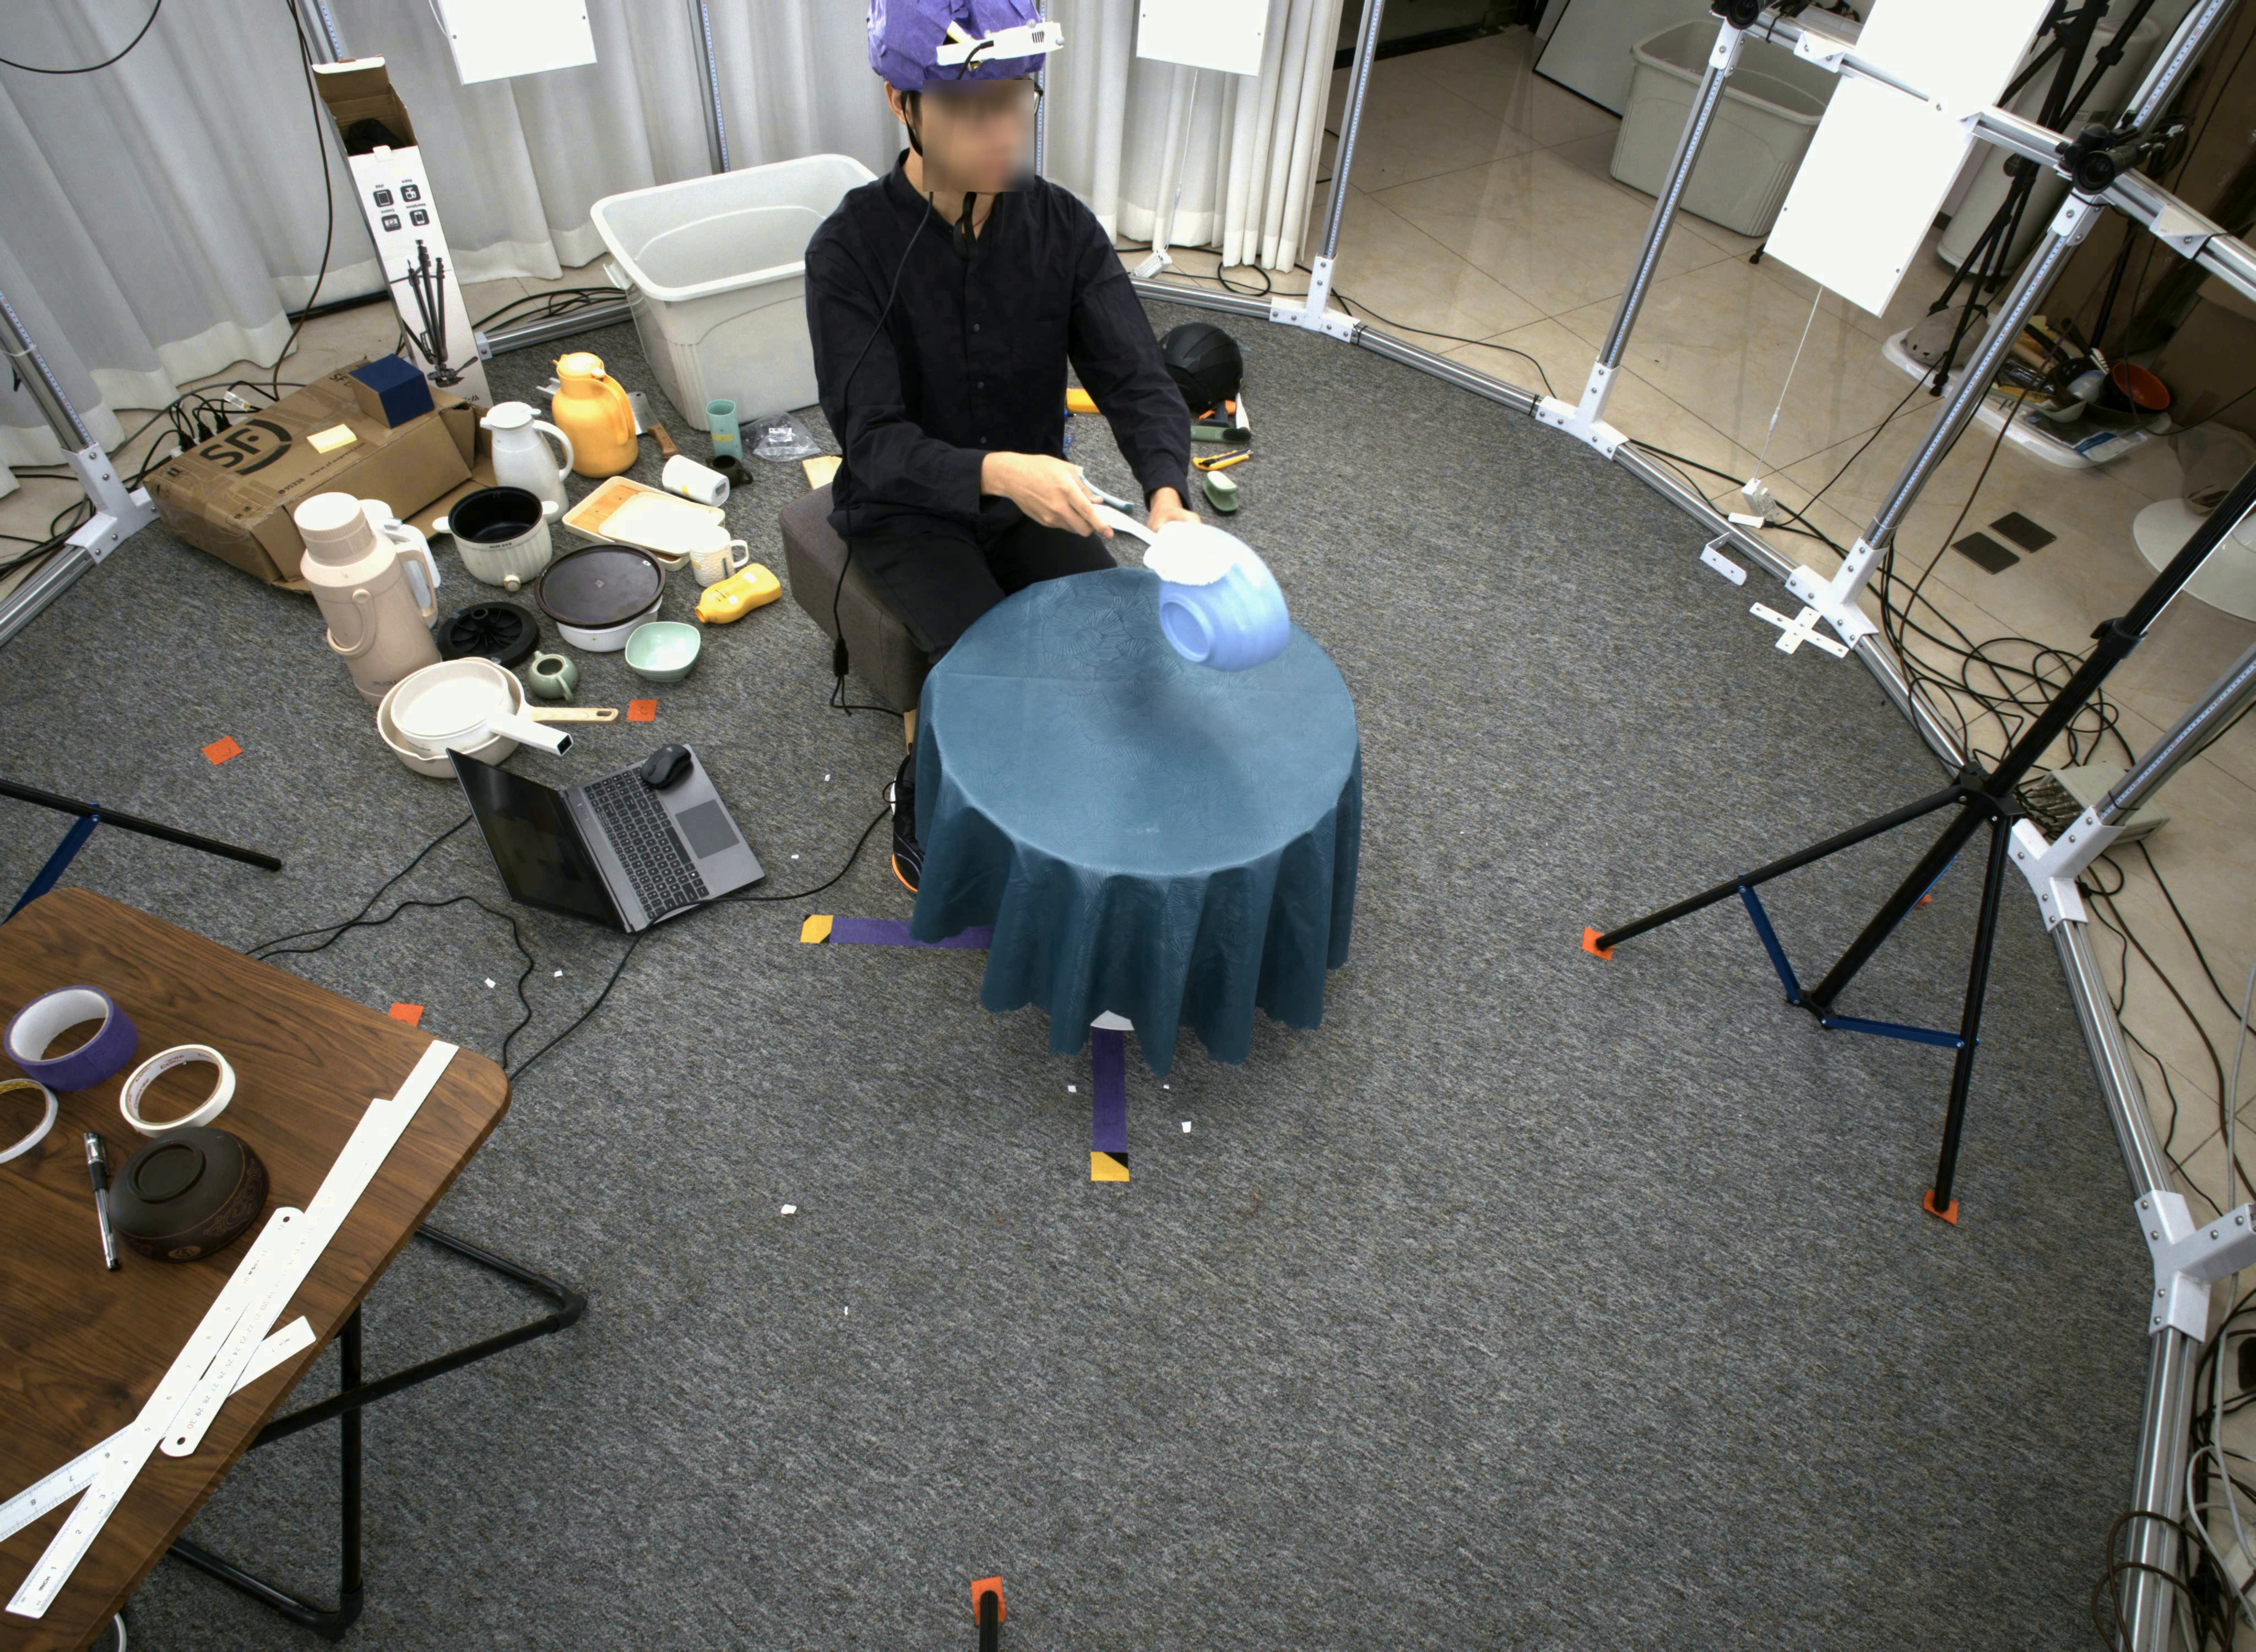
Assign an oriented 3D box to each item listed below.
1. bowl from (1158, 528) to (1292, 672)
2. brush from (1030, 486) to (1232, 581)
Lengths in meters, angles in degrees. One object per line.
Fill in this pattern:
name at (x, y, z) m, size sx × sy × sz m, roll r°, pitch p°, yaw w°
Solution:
bowl at (0.106, -0.274, 1.655) m, size 0.096 × 0.192 × 0.199 m, roll -38°, pitch 62°, yaw -24°
brush at (0.007, -0.376, 1.645) m, size 0.330 × 0.082 × 0.084 m, roll 25°, pitch 44°, yaw 38°
